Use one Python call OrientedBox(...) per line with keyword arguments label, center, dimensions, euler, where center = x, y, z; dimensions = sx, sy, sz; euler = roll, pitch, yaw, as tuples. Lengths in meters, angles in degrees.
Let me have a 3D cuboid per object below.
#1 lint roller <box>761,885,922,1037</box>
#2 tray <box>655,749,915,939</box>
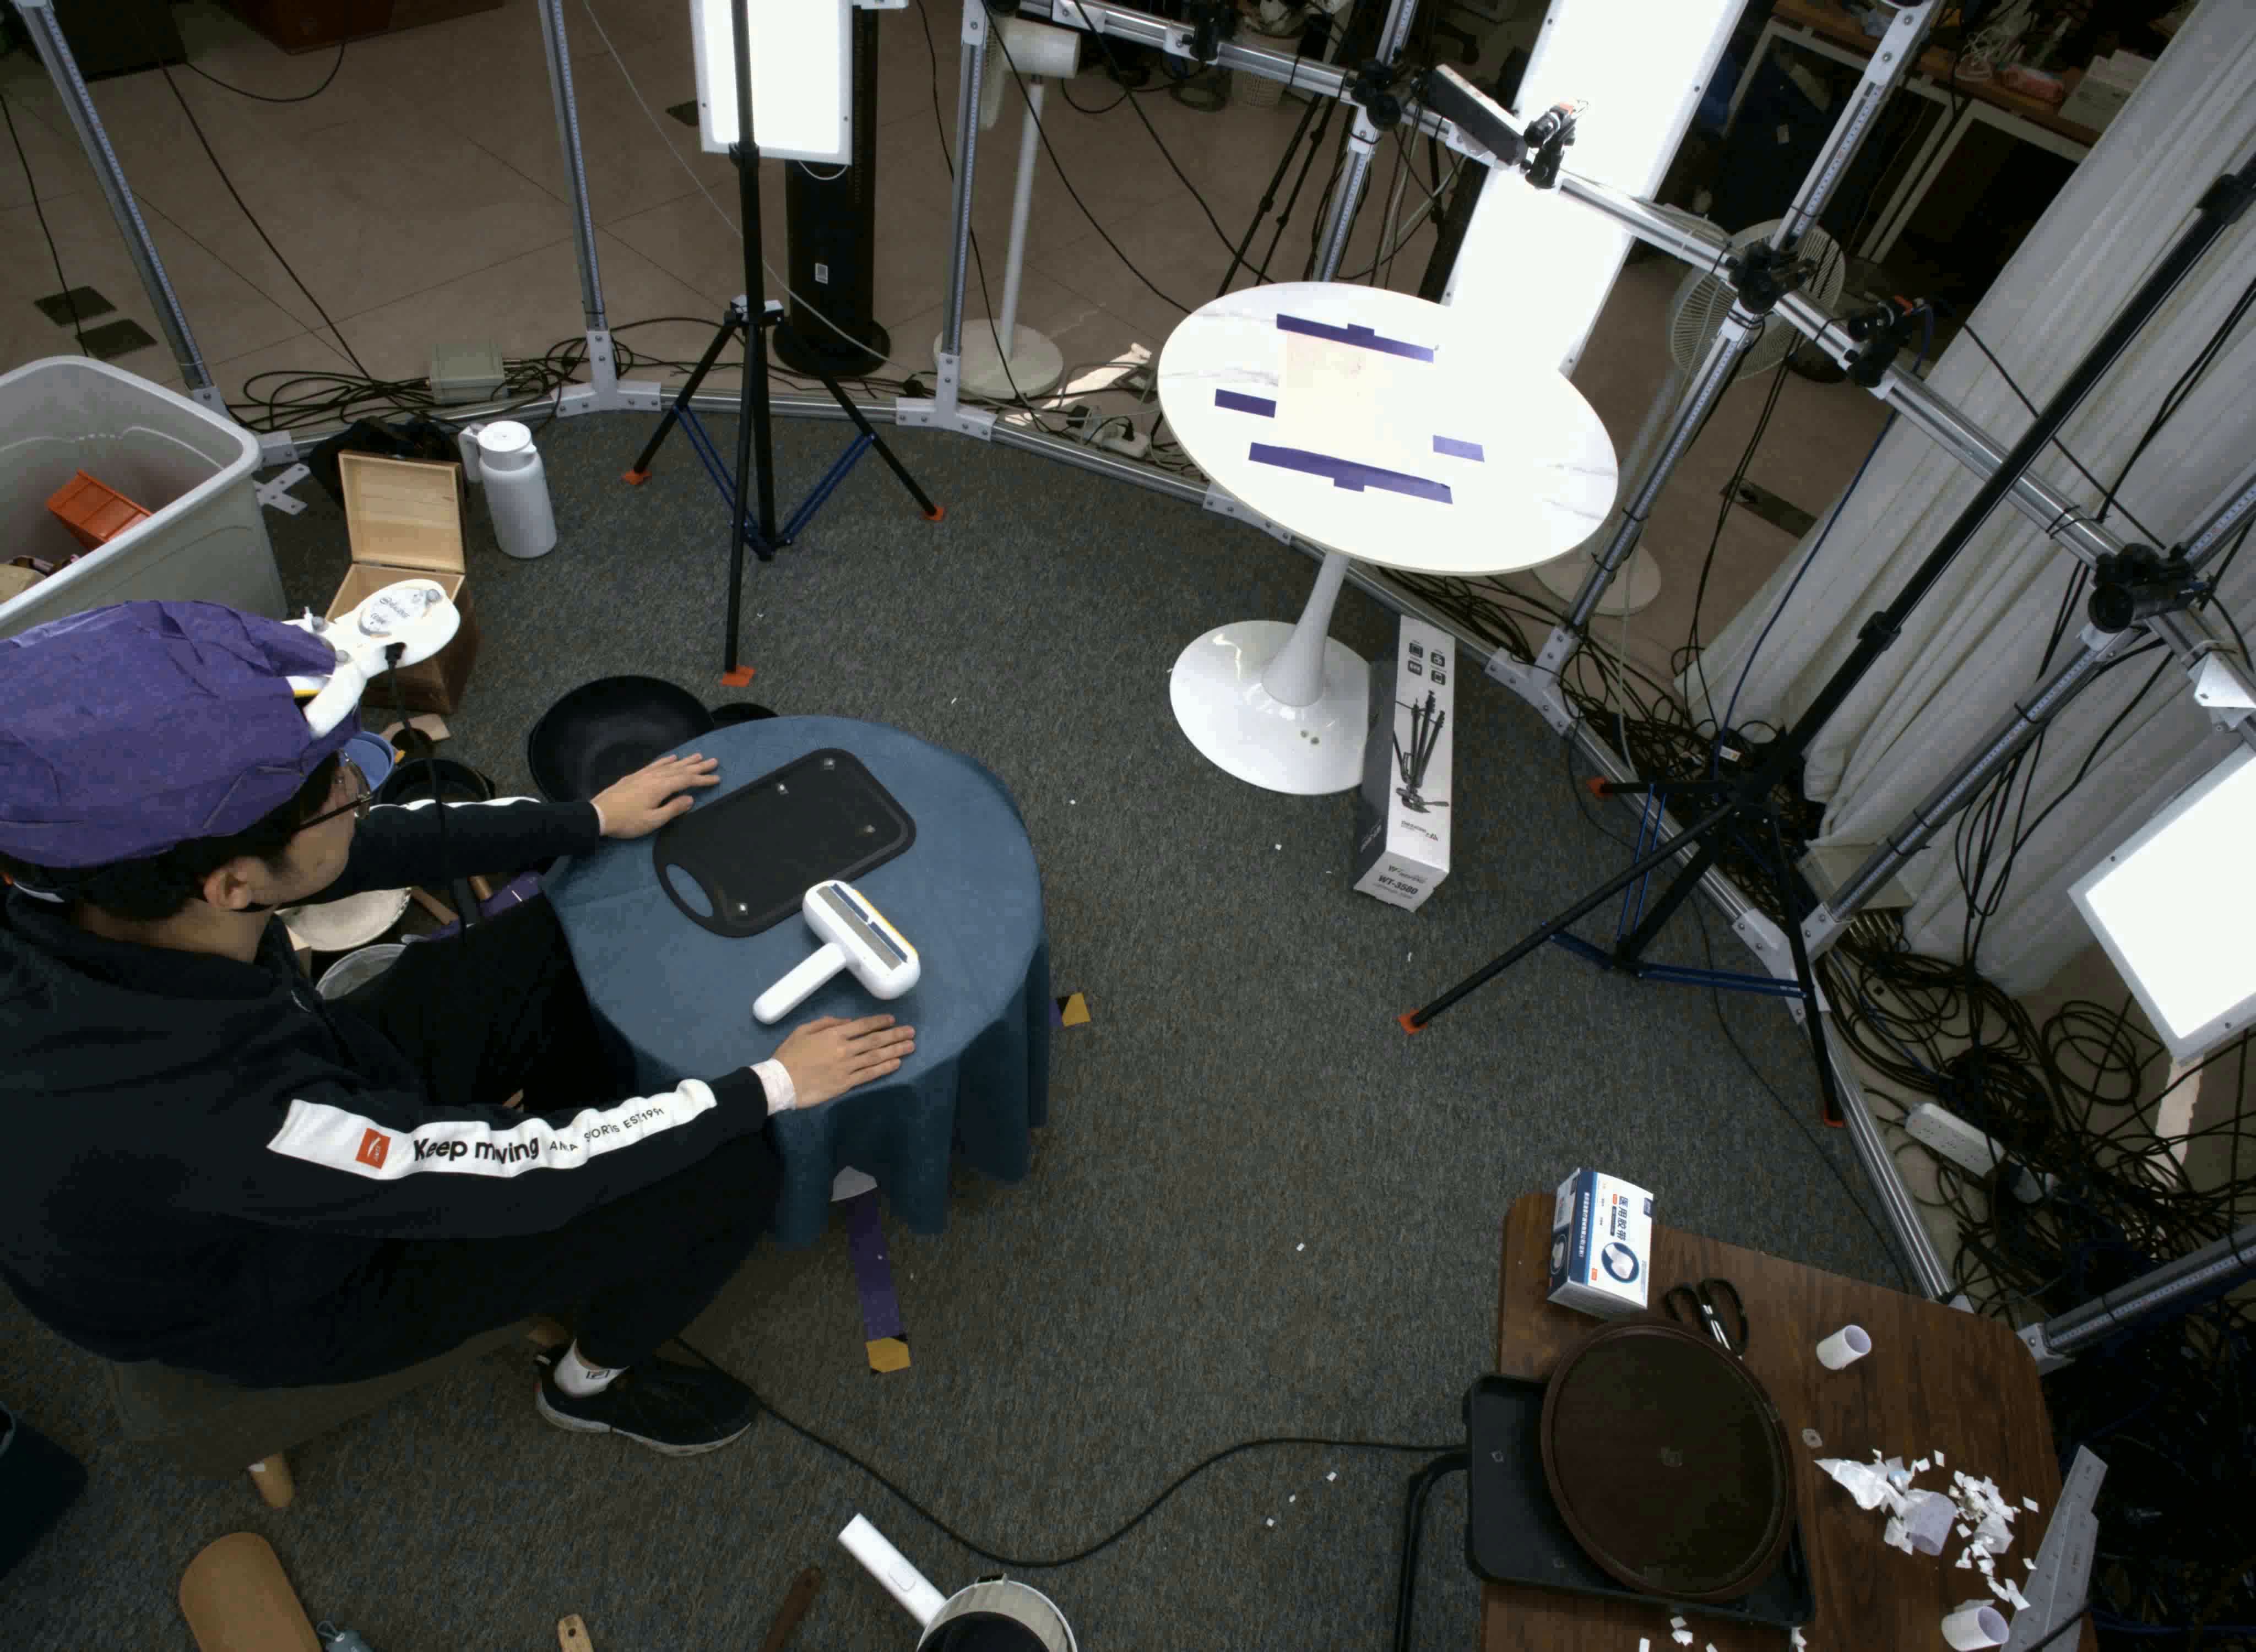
OrientedBox(label="lint roller", center=(-0.370, 0.181, 1.591), dimensions=(0.192, 0.076, 0.187), euler=(-34, 60, -16))
OrientedBox(label="tray", center=(-0.454, 0.018, 1.704), dimensions=(0.326, 0.010, 0.206), euler=(-32, 67, -32))
